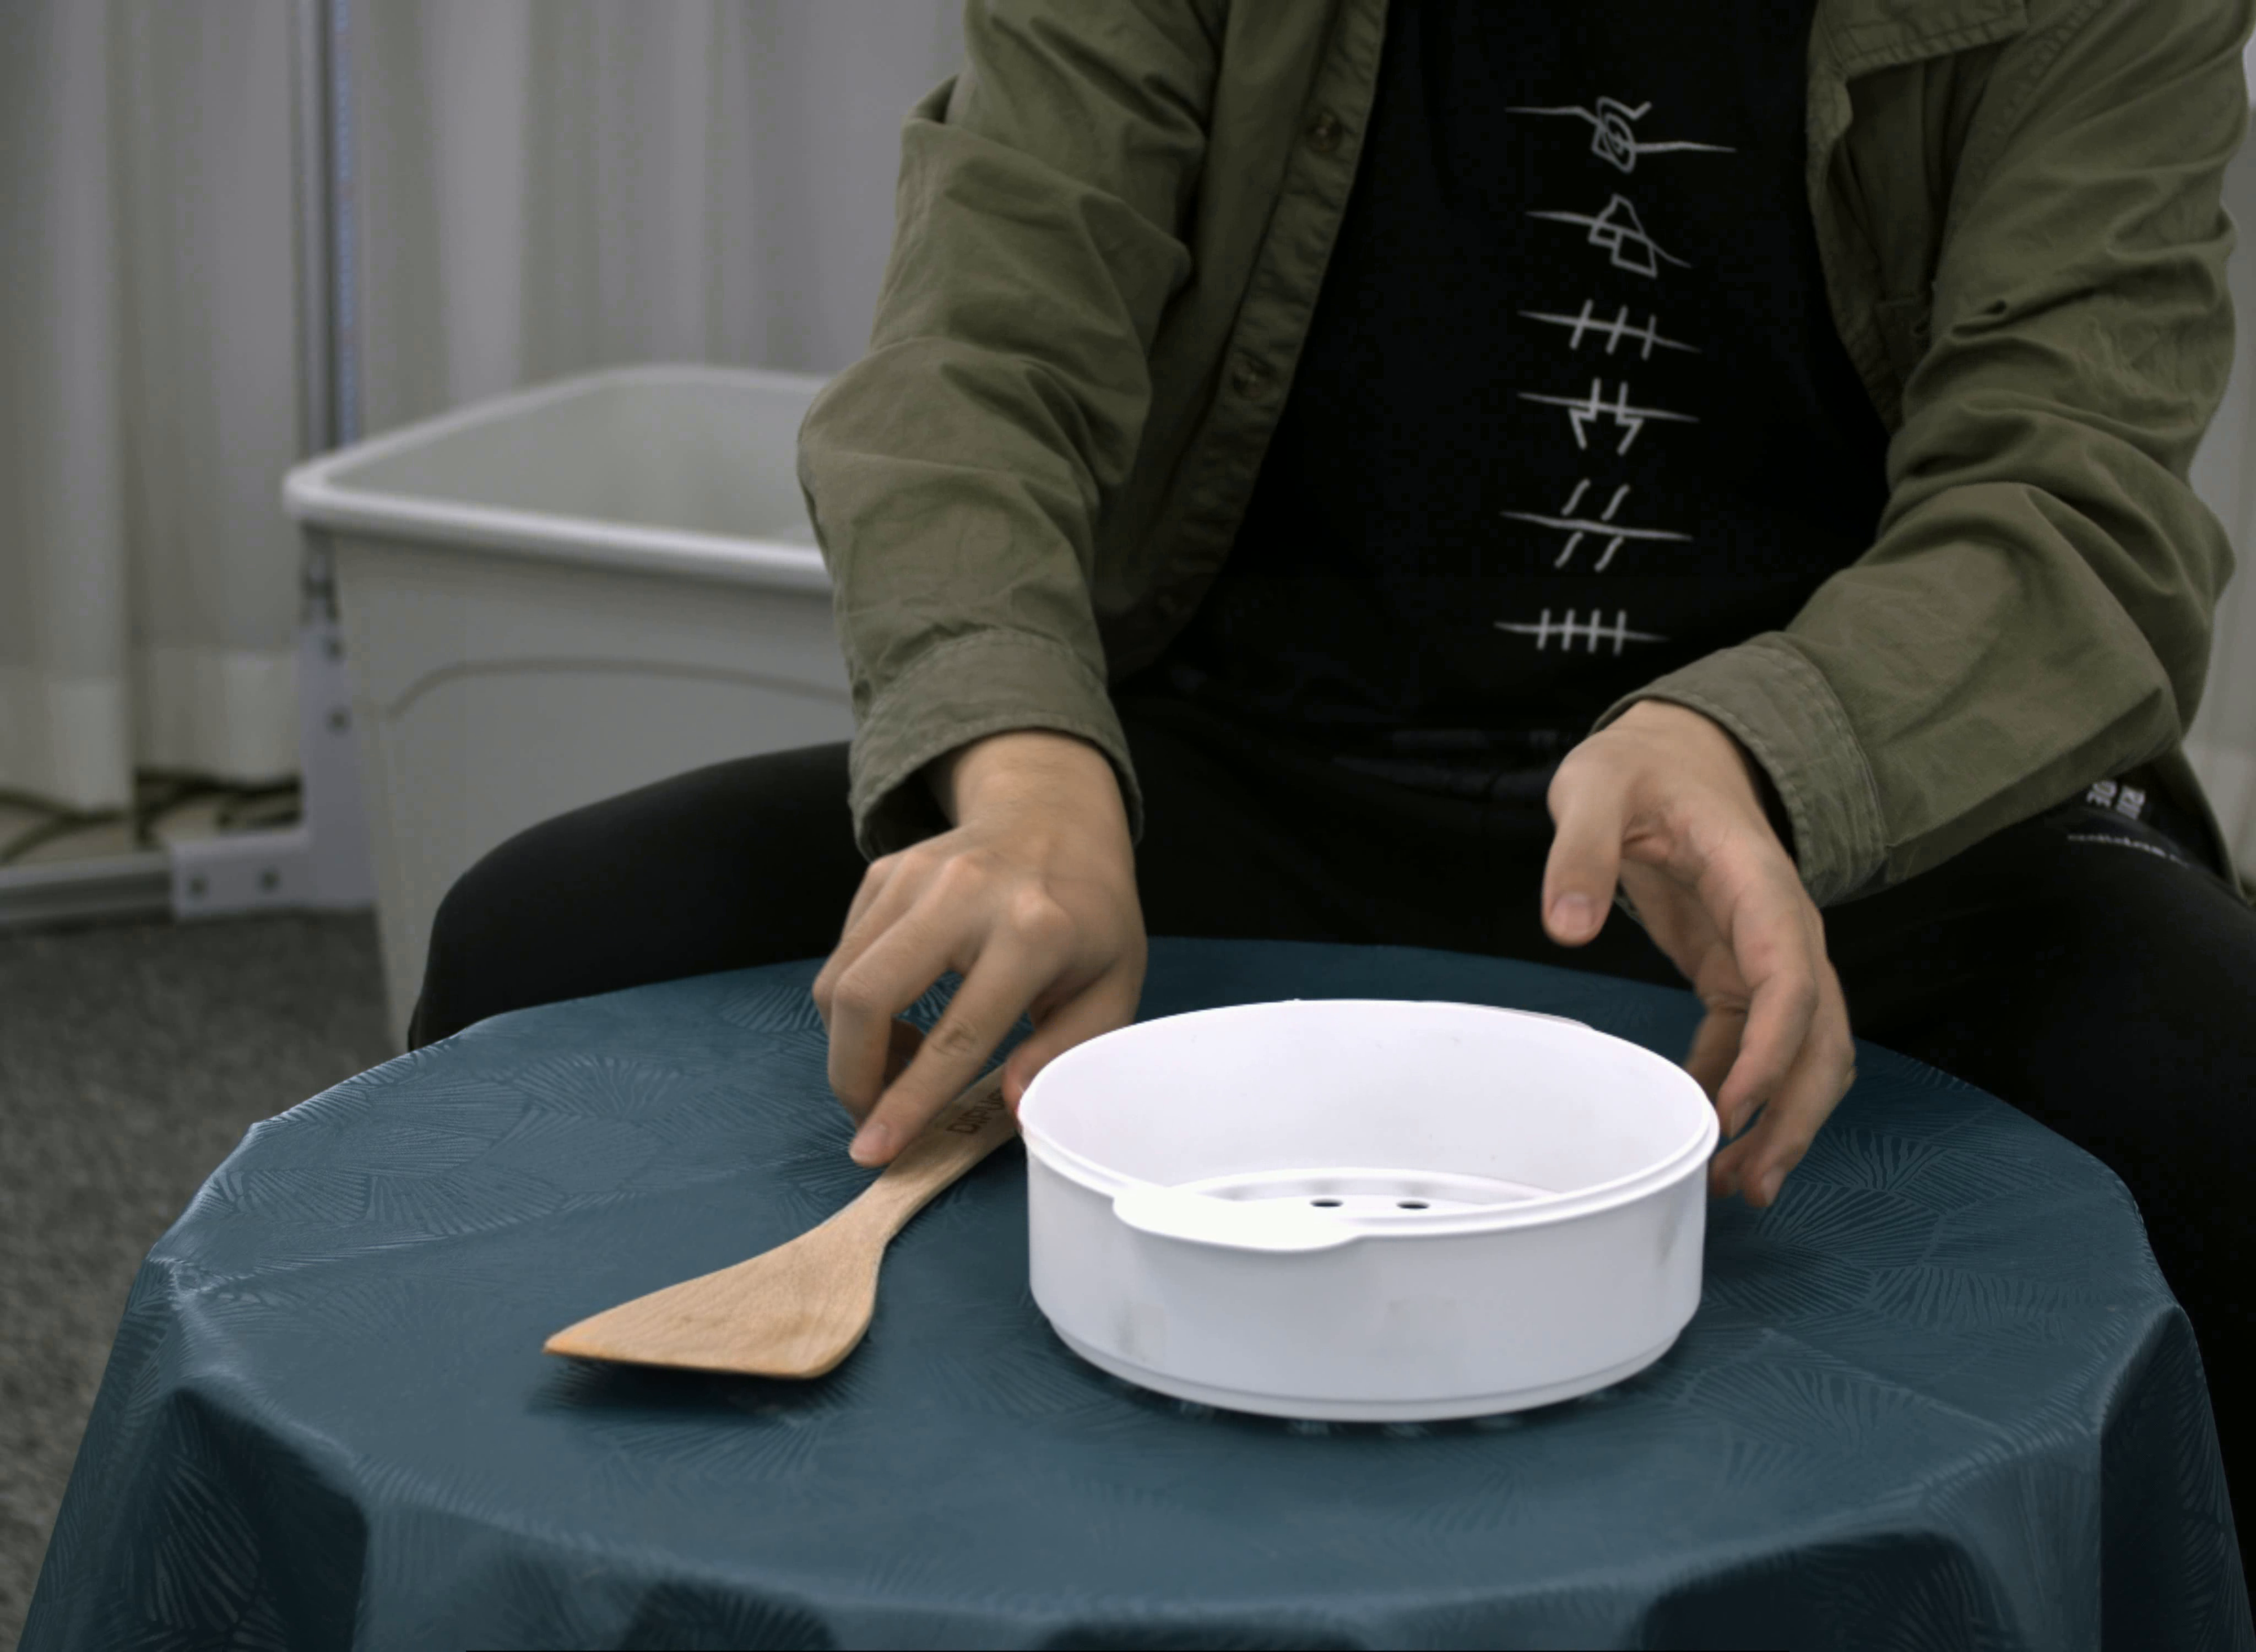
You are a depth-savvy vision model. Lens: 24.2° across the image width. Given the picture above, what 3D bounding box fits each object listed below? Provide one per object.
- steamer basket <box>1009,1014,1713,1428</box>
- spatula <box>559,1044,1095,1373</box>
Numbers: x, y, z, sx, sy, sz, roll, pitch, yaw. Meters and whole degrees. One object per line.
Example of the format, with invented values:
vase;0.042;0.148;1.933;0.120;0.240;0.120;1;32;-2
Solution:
steamer basket;0.066;0.113;1.510;0.200;0.070;0.231;8;15;23
spatula;-0.071;0.112;1.596;0.079;0.016;0.328;6;17;18
